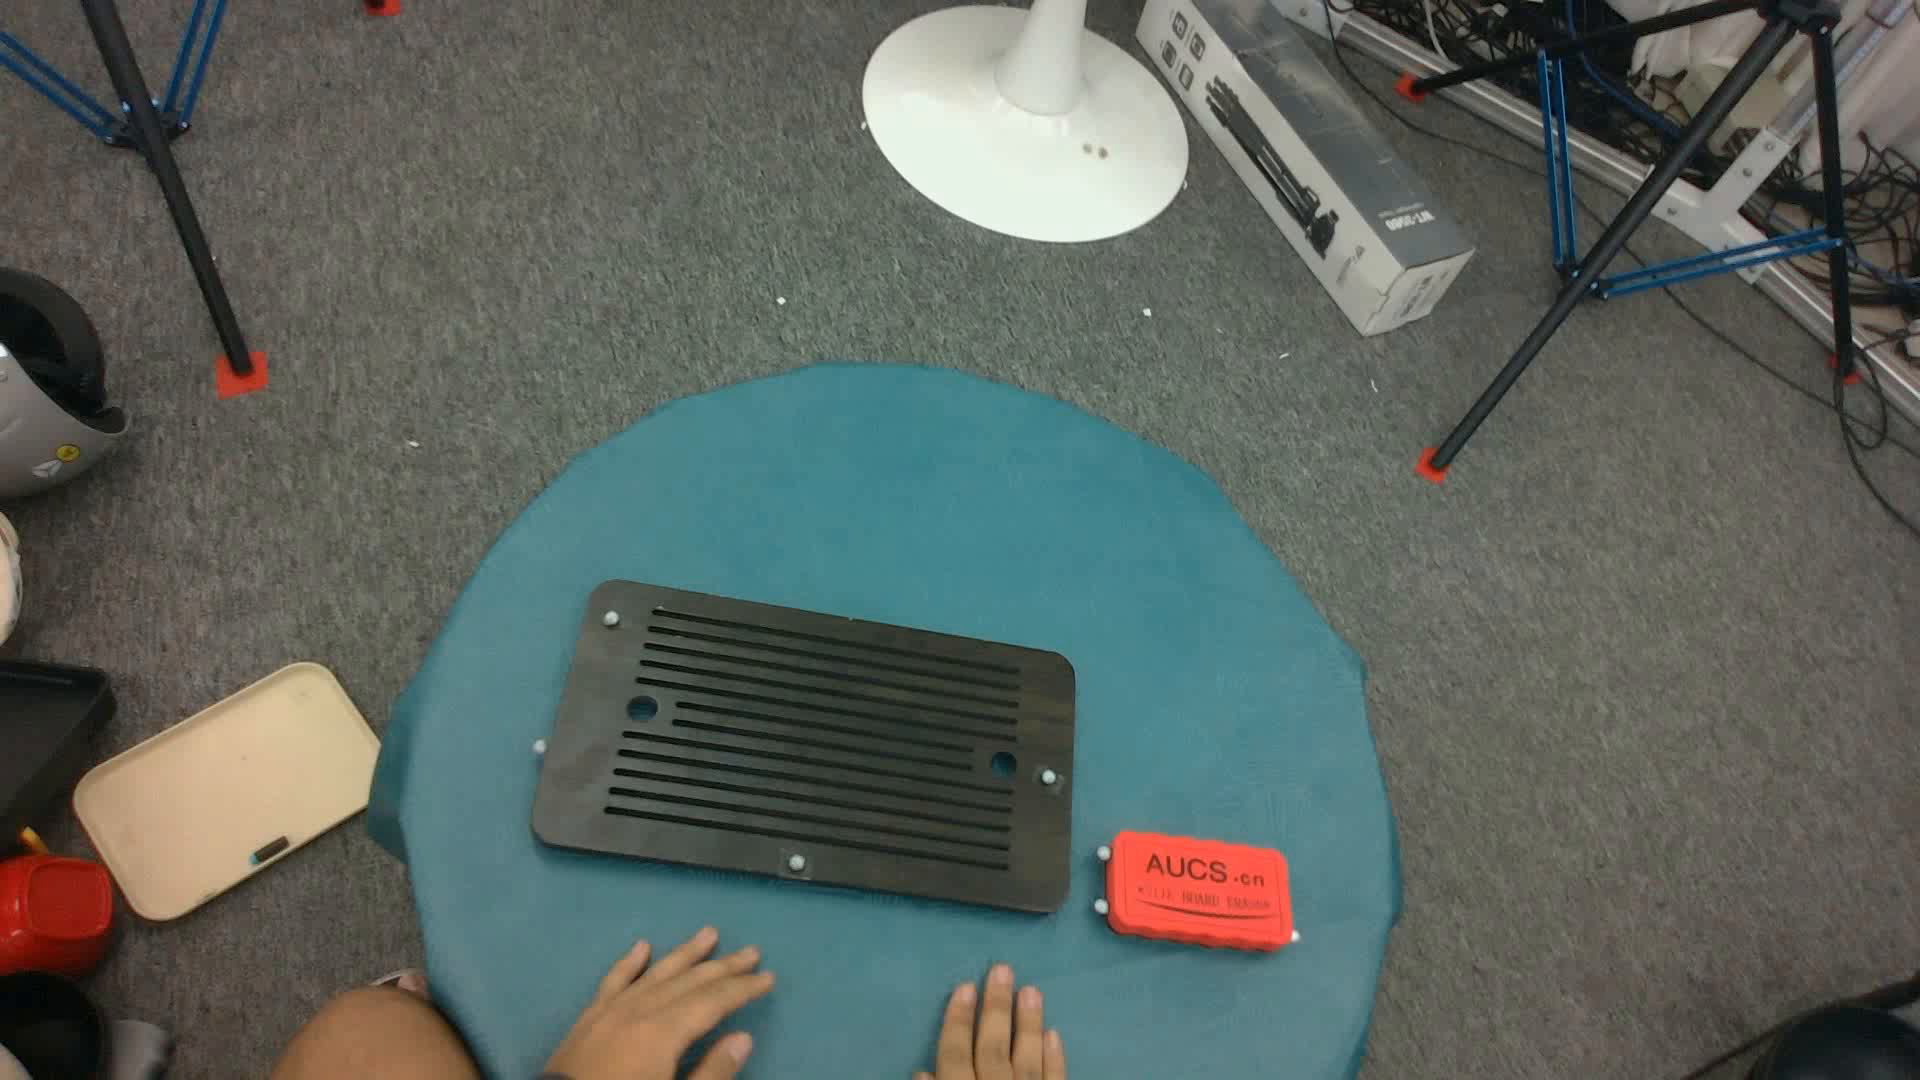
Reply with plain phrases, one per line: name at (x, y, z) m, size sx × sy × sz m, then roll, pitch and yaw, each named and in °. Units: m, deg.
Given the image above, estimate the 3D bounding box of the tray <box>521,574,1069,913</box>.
tray at (-0.086, 0.119, 0.814) m, size 0.306 × 0.018 × 0.171 m, roll 11°, pitch 55°, yaw -9°

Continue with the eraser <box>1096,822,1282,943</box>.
eraser at (0.135, 0.202, 0.813) m, size 0.108 × 0.023 × 0.059 m, roll 10°, pitch 56°, yaw -11°
